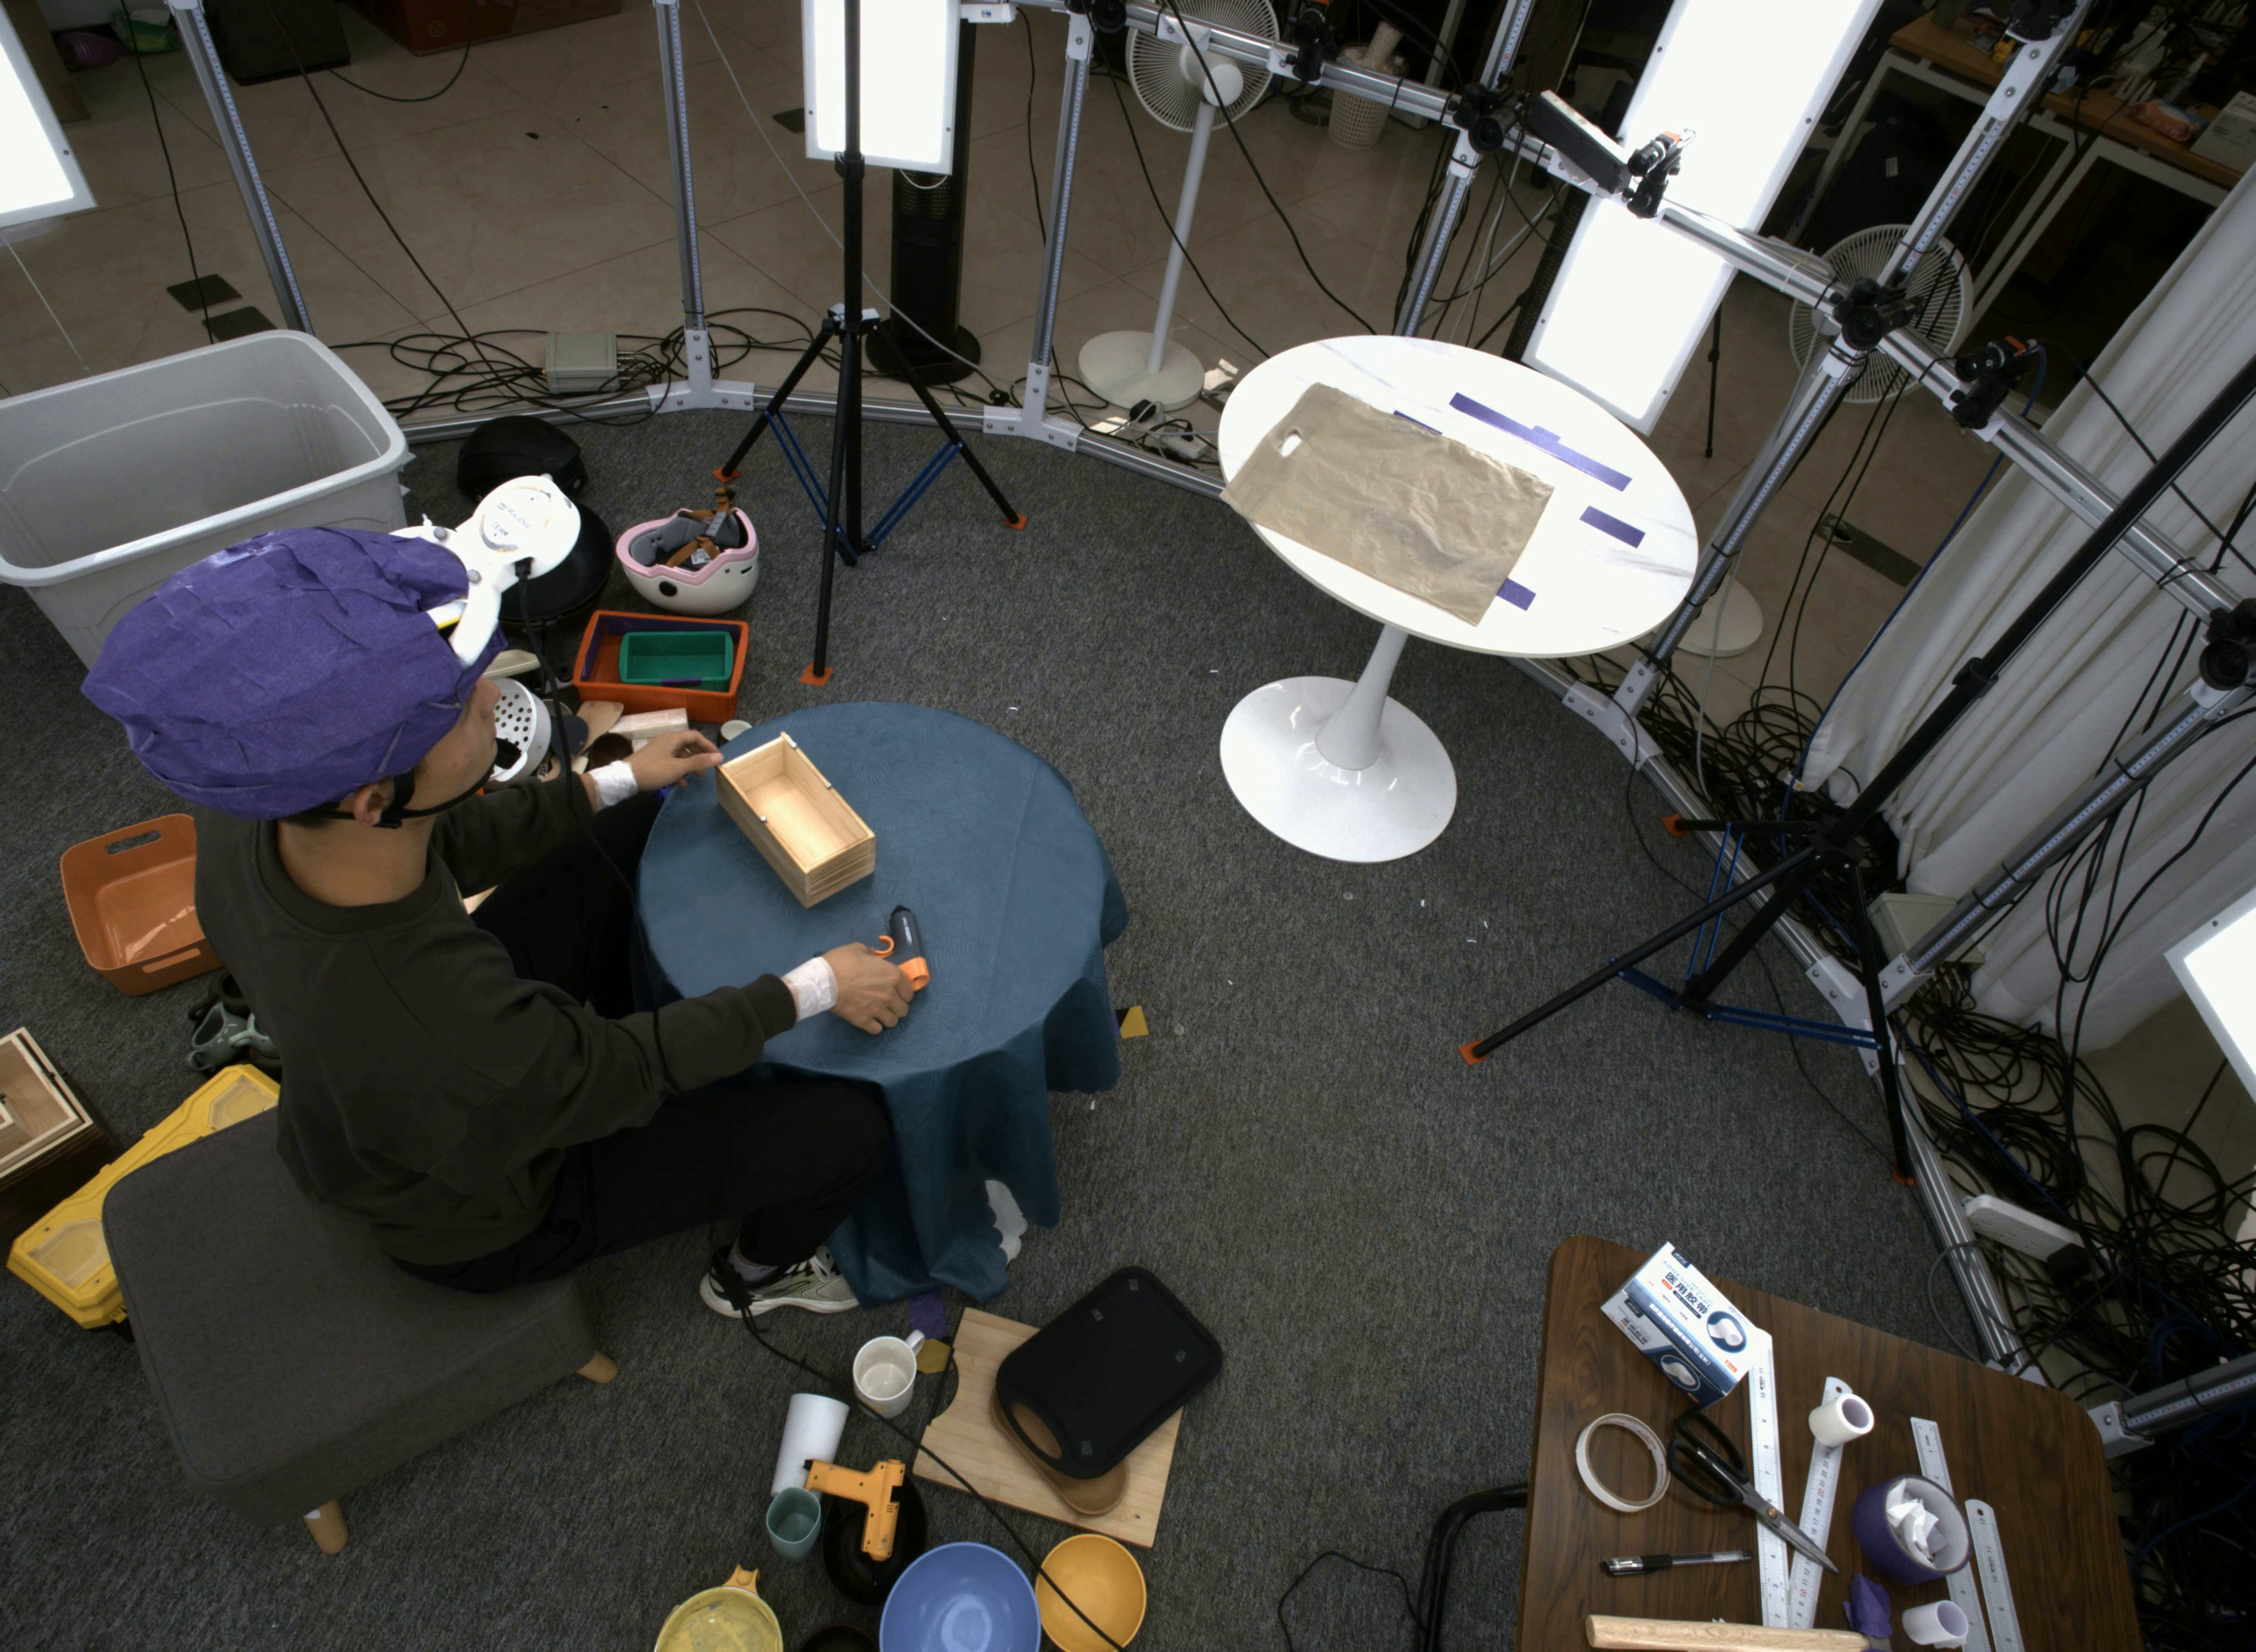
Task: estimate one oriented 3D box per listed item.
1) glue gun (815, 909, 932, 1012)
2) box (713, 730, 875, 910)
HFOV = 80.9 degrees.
[{"bbox_3d":[-0.310,0.164,1.605,0.140,0.042,0.114,-23,55,-29],"label":"glue gun"},{"bbox_3d":[-0.431,-0.010,1.674,0.108,0.082,0.206,-33,67,-30],"label":"box"}]
